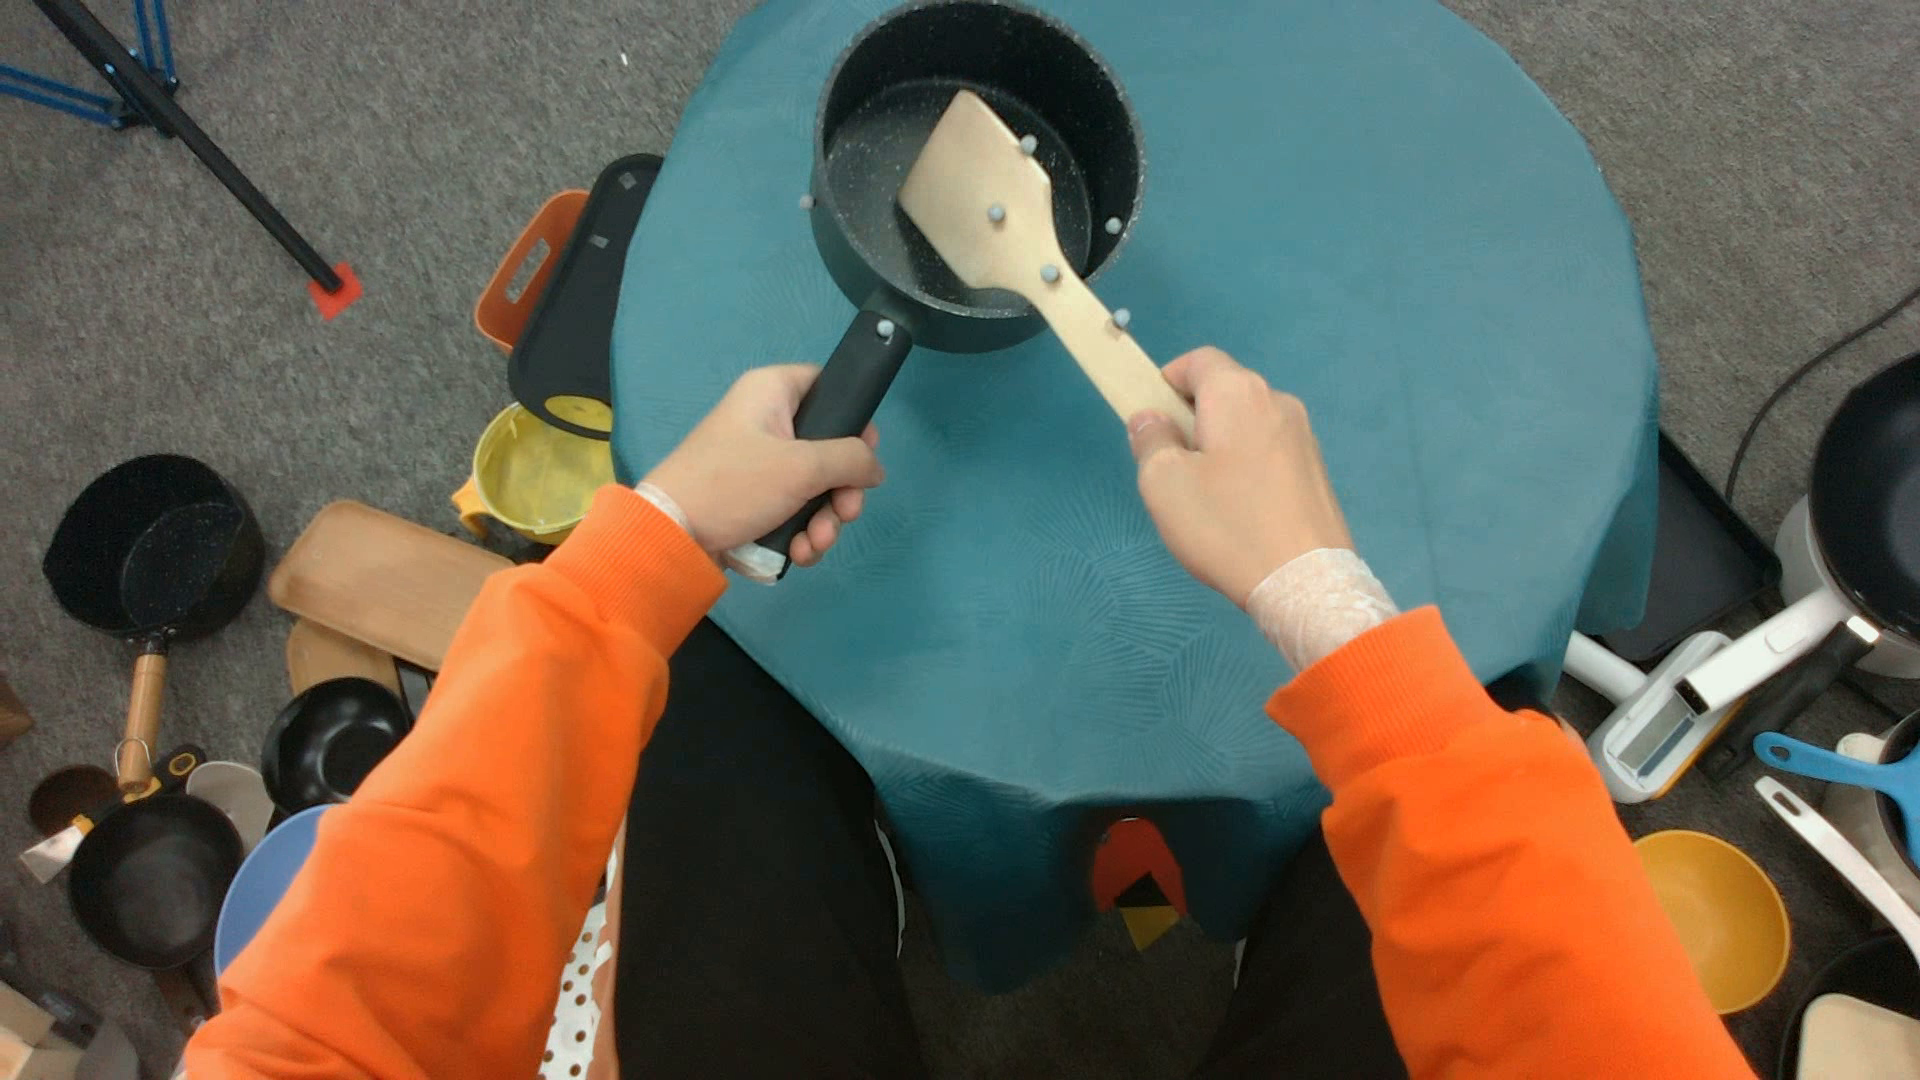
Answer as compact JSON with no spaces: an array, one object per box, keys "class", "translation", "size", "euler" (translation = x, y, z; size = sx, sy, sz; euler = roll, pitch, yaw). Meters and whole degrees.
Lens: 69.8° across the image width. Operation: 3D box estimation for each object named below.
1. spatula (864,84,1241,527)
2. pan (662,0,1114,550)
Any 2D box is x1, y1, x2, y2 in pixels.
[{"class":"spatula","translation":[0.041,-0.115,0.655],"size":[0.072,0.010,0.293],"euler":[-48,56,21]},{"class":"pan","translation":[-0.048,-0.130,0.699],"size":[0.172,0.086,0.330],"euler":[31,72,-3]}]
